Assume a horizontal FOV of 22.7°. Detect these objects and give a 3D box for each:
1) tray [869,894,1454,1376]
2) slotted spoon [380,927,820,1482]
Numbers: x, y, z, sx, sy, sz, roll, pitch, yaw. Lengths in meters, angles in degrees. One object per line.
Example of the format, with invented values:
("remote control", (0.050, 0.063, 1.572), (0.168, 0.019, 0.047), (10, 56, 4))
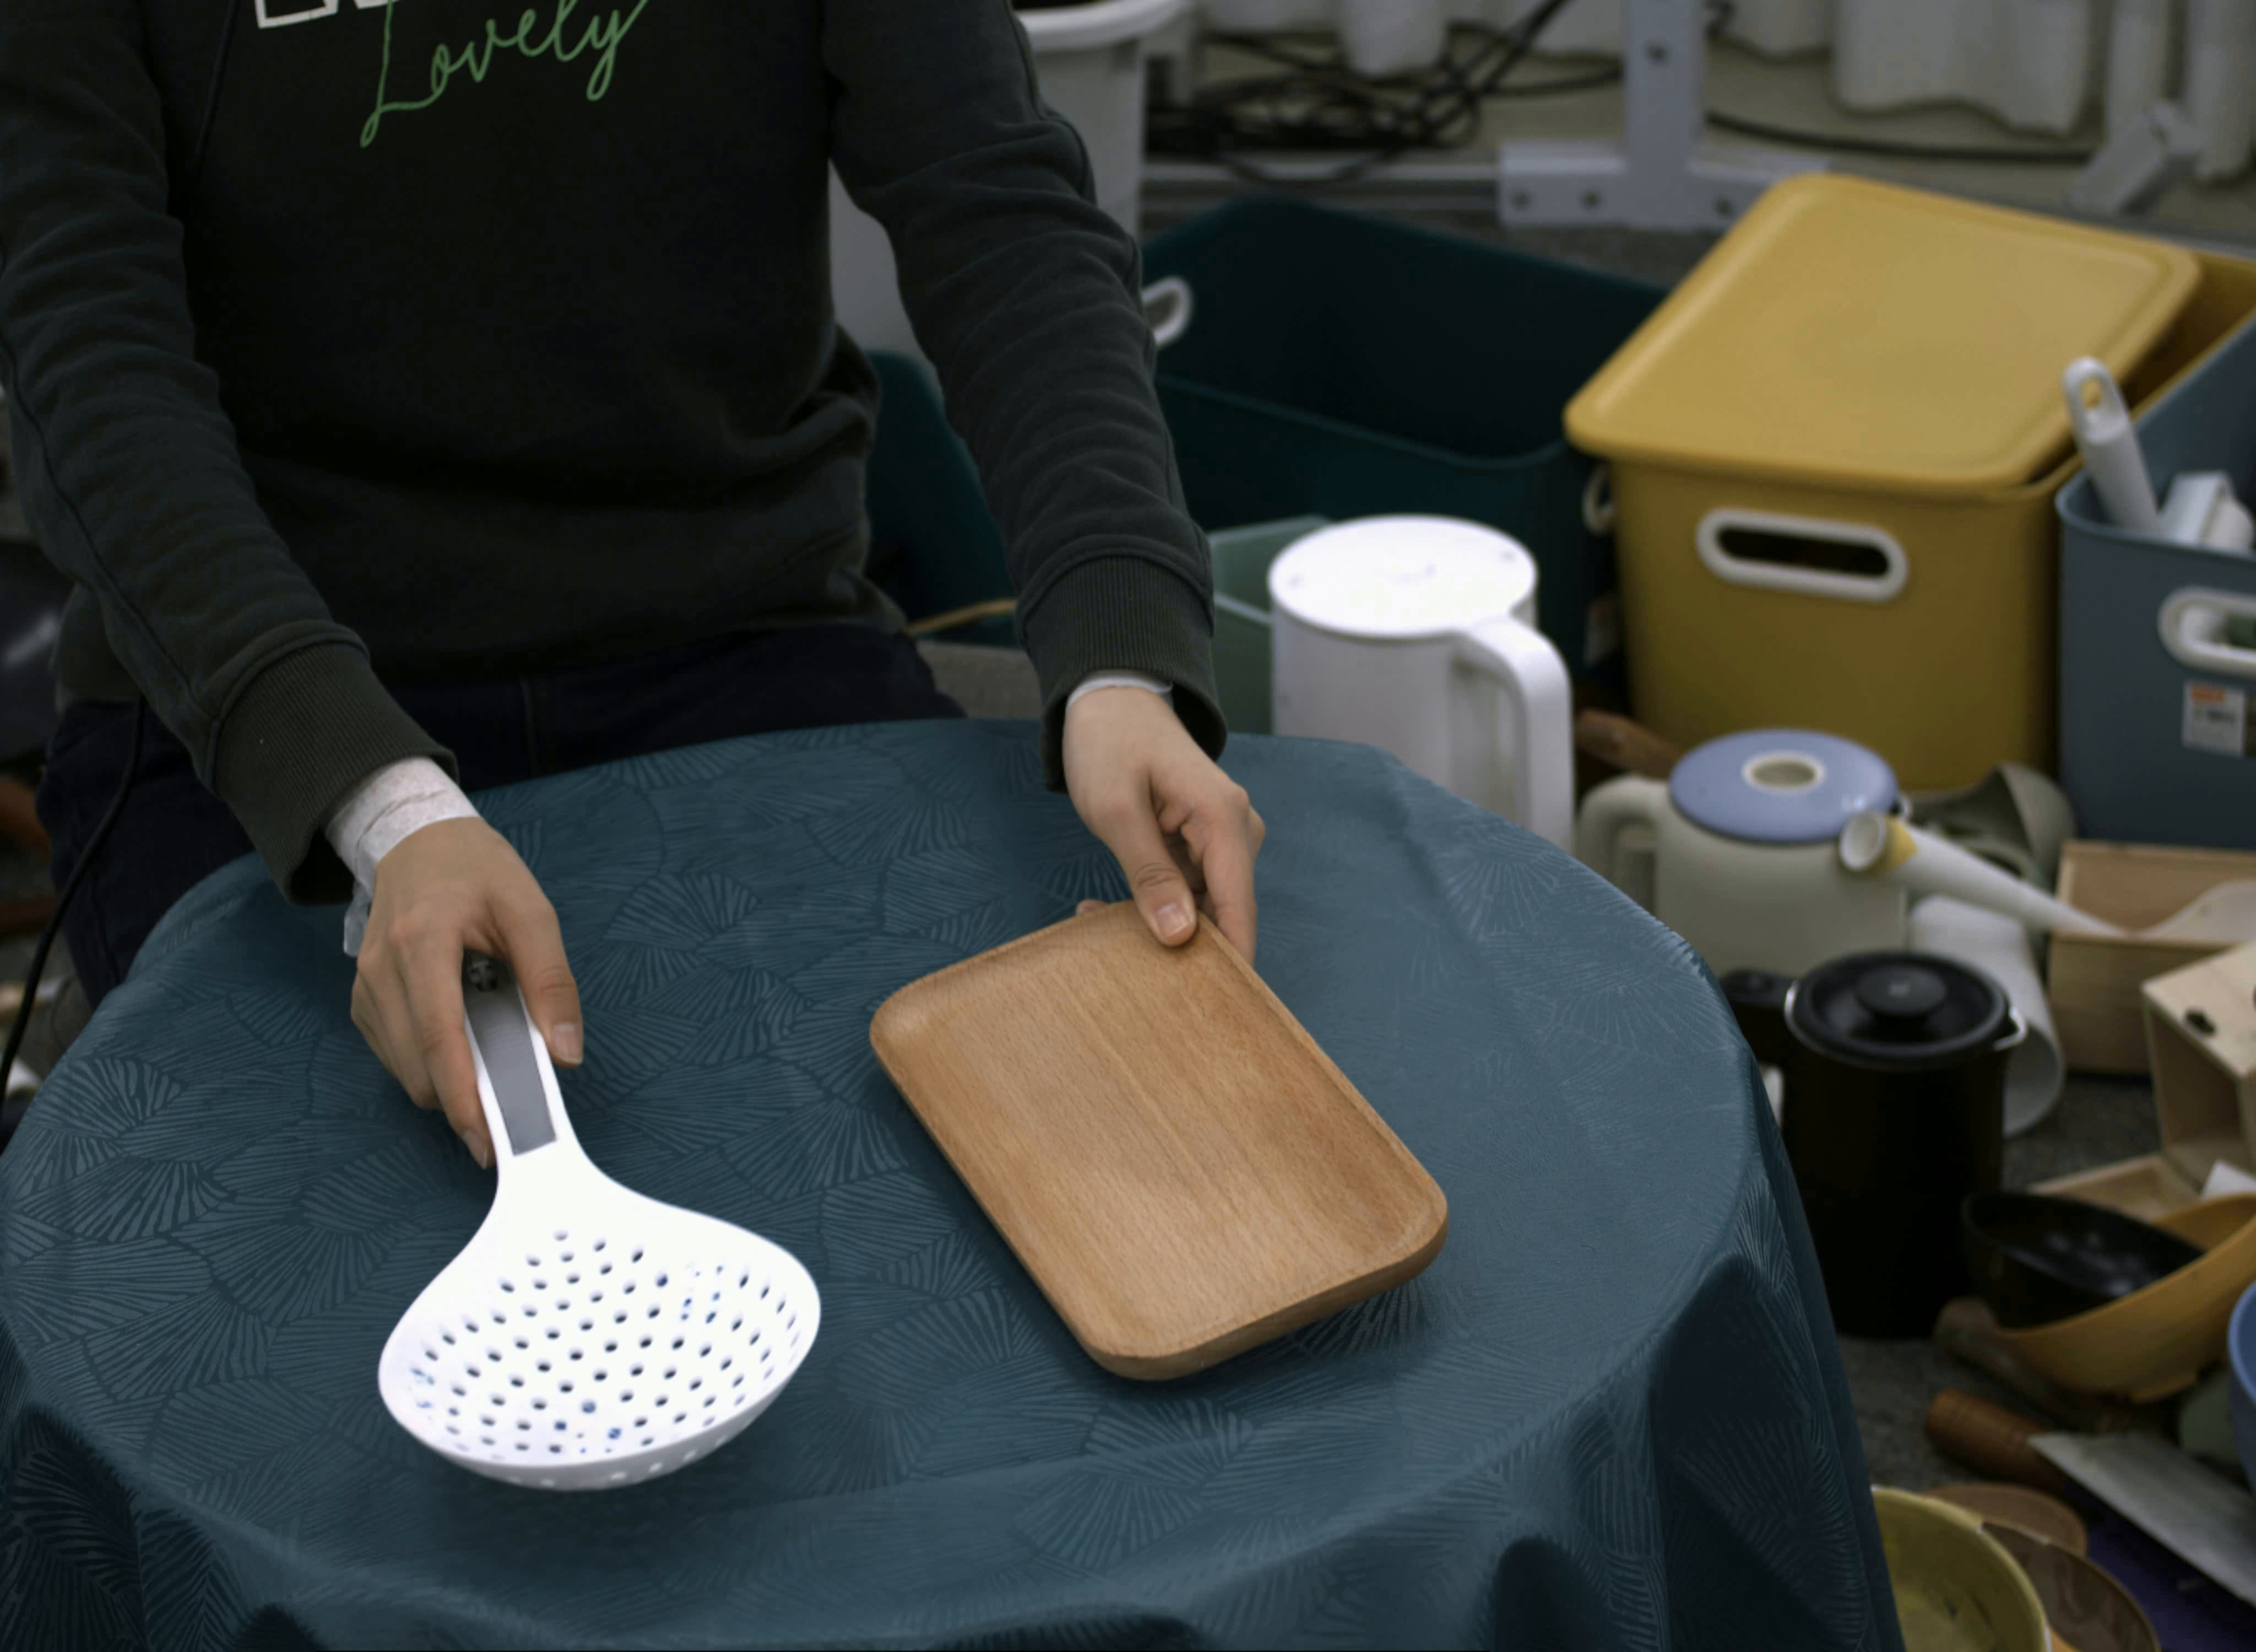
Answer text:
("tray", (0.008, 0.099, 1.855), (0.131, 0.022, 0.252), (-19, 31, -14))
("slotted spoon", (-0.186, 0.116, 1.811), (0.136, 0.045, 0.354), (-11, 31, -10))
